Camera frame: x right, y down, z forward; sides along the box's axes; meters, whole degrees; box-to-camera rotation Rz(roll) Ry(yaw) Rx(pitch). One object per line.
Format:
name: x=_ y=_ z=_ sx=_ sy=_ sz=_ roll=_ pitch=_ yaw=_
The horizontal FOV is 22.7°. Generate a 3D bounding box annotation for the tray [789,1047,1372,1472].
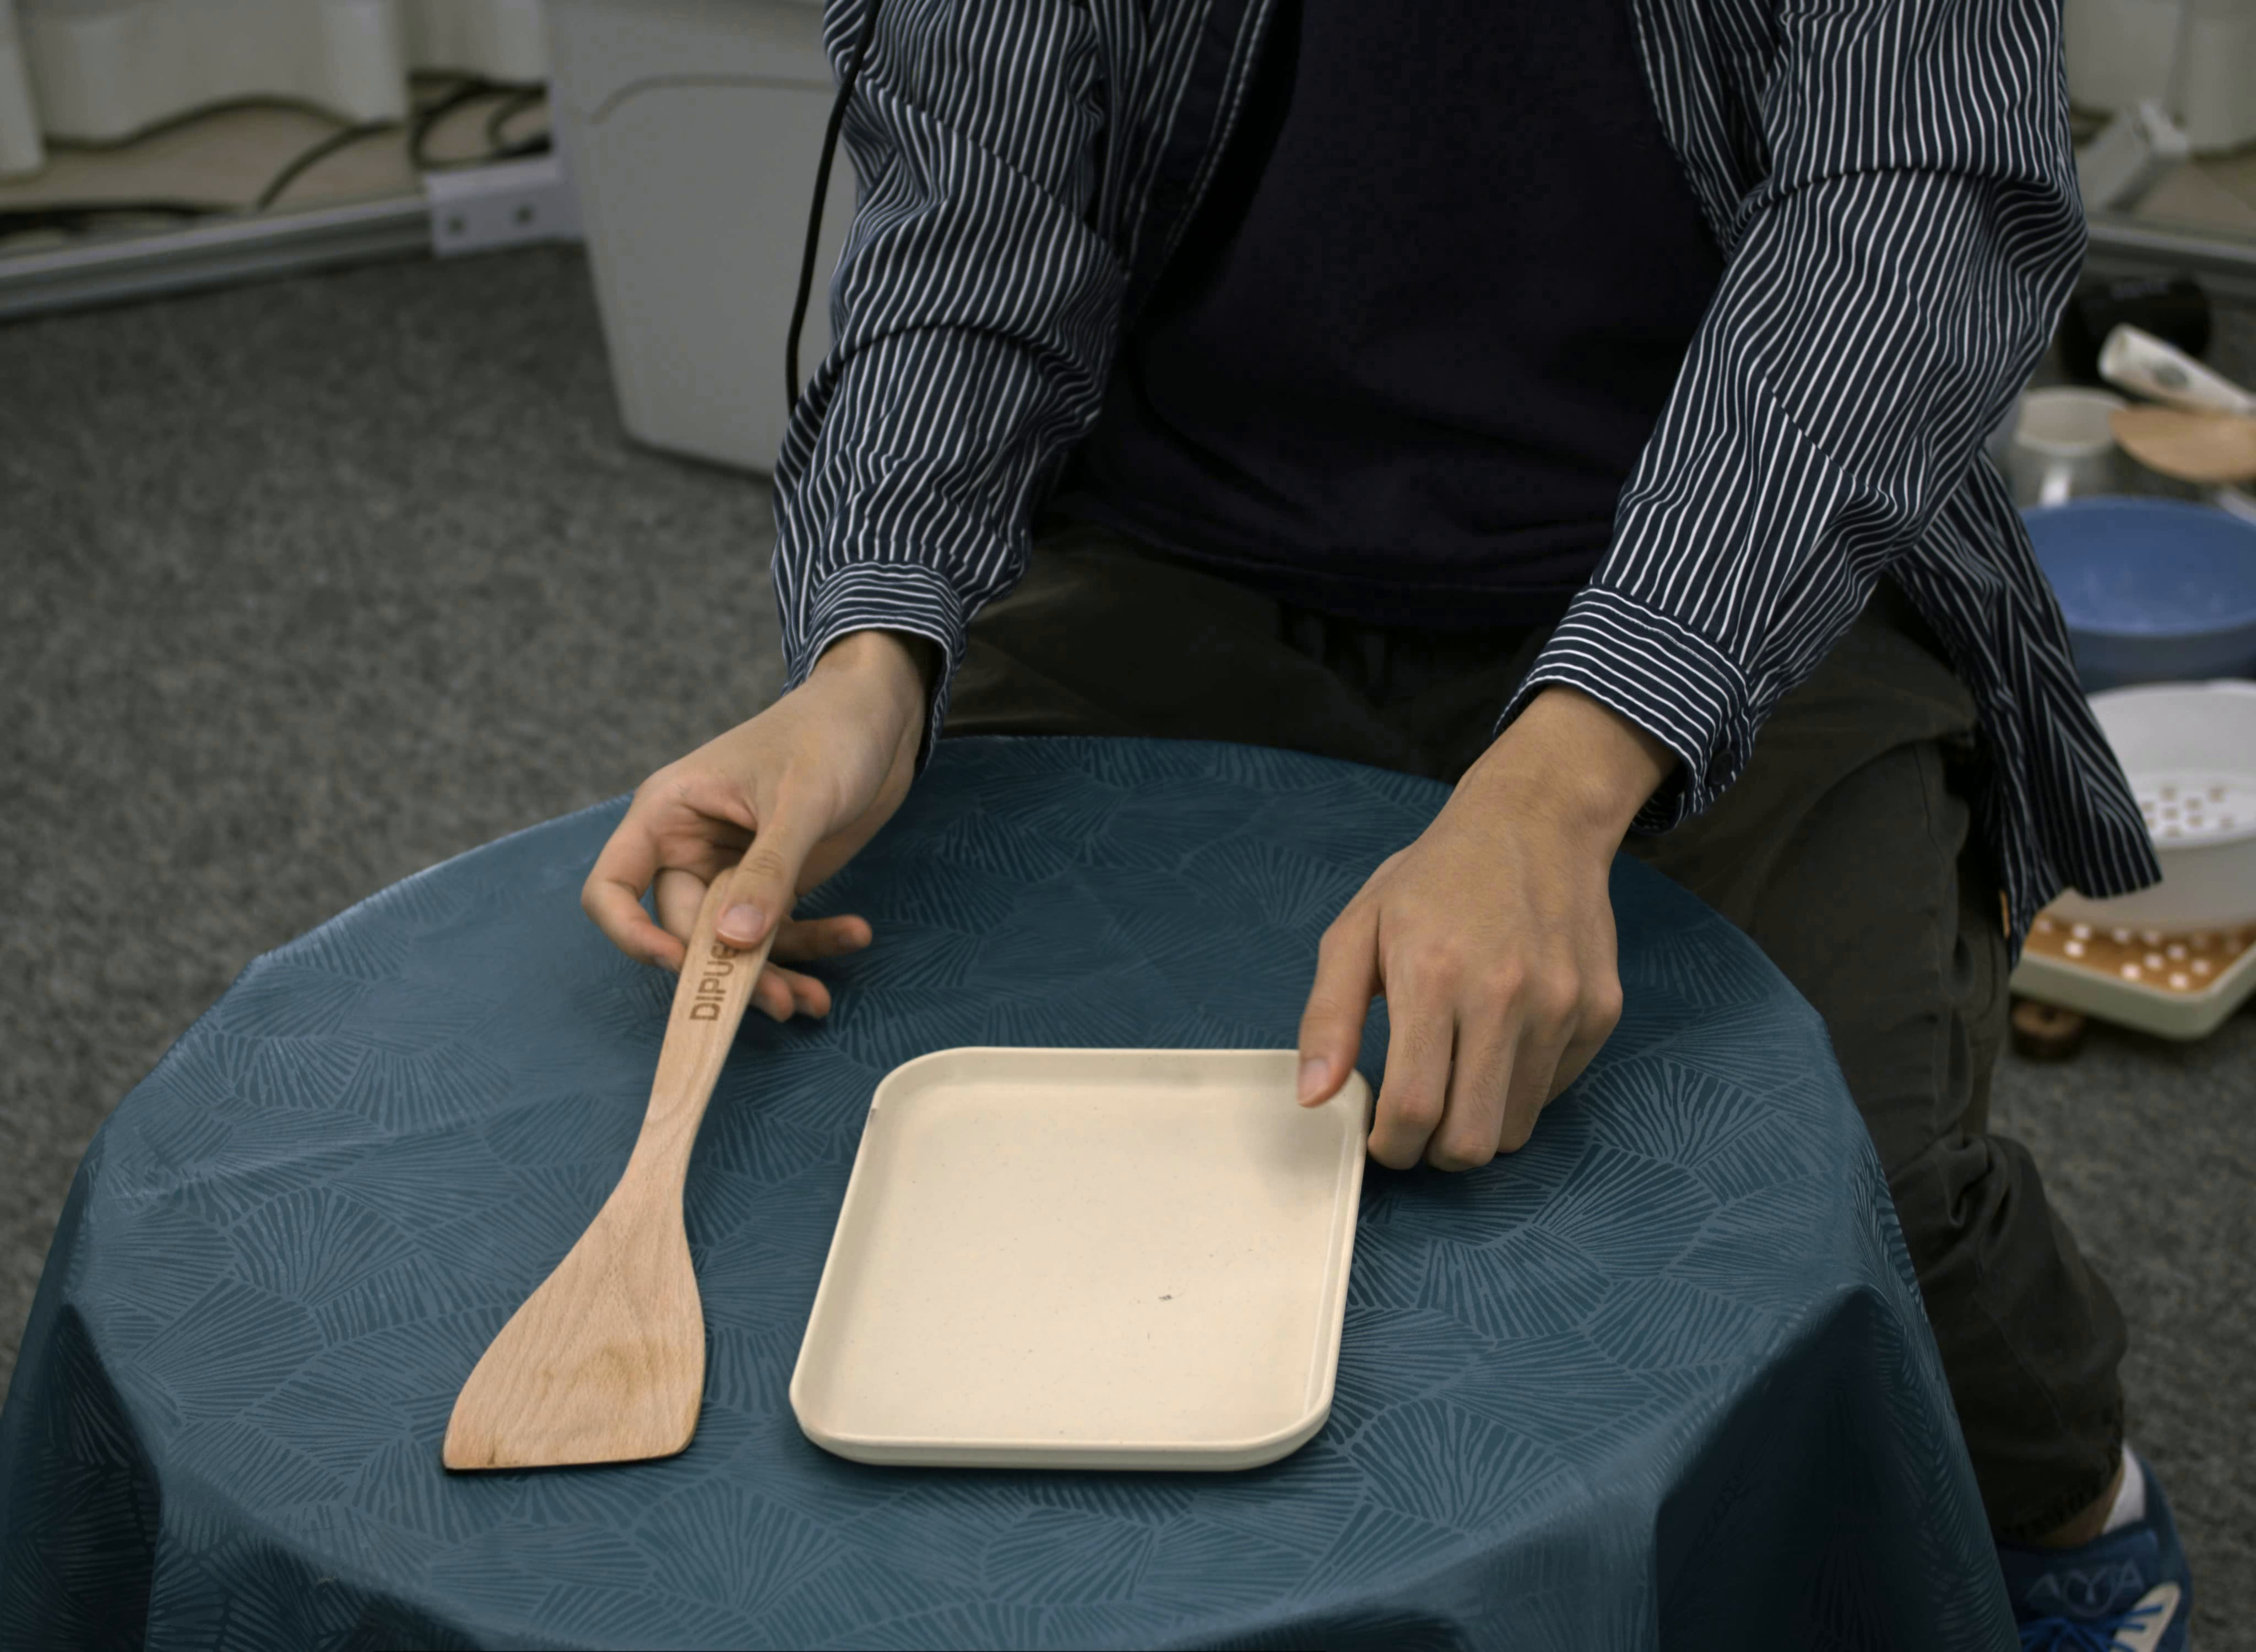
tray: x=-0.012 y=0.138 z=1.806 sx=0.170 sy=0.017 sz=0.243 roll=1 pitch=27 yaw=6

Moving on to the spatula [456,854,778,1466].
spatula: x=-0.152 y=0.106 z=1.857 sx=0.079 sy=0.016 sz=0.334 roll=1 pitch=36 yaw=7
